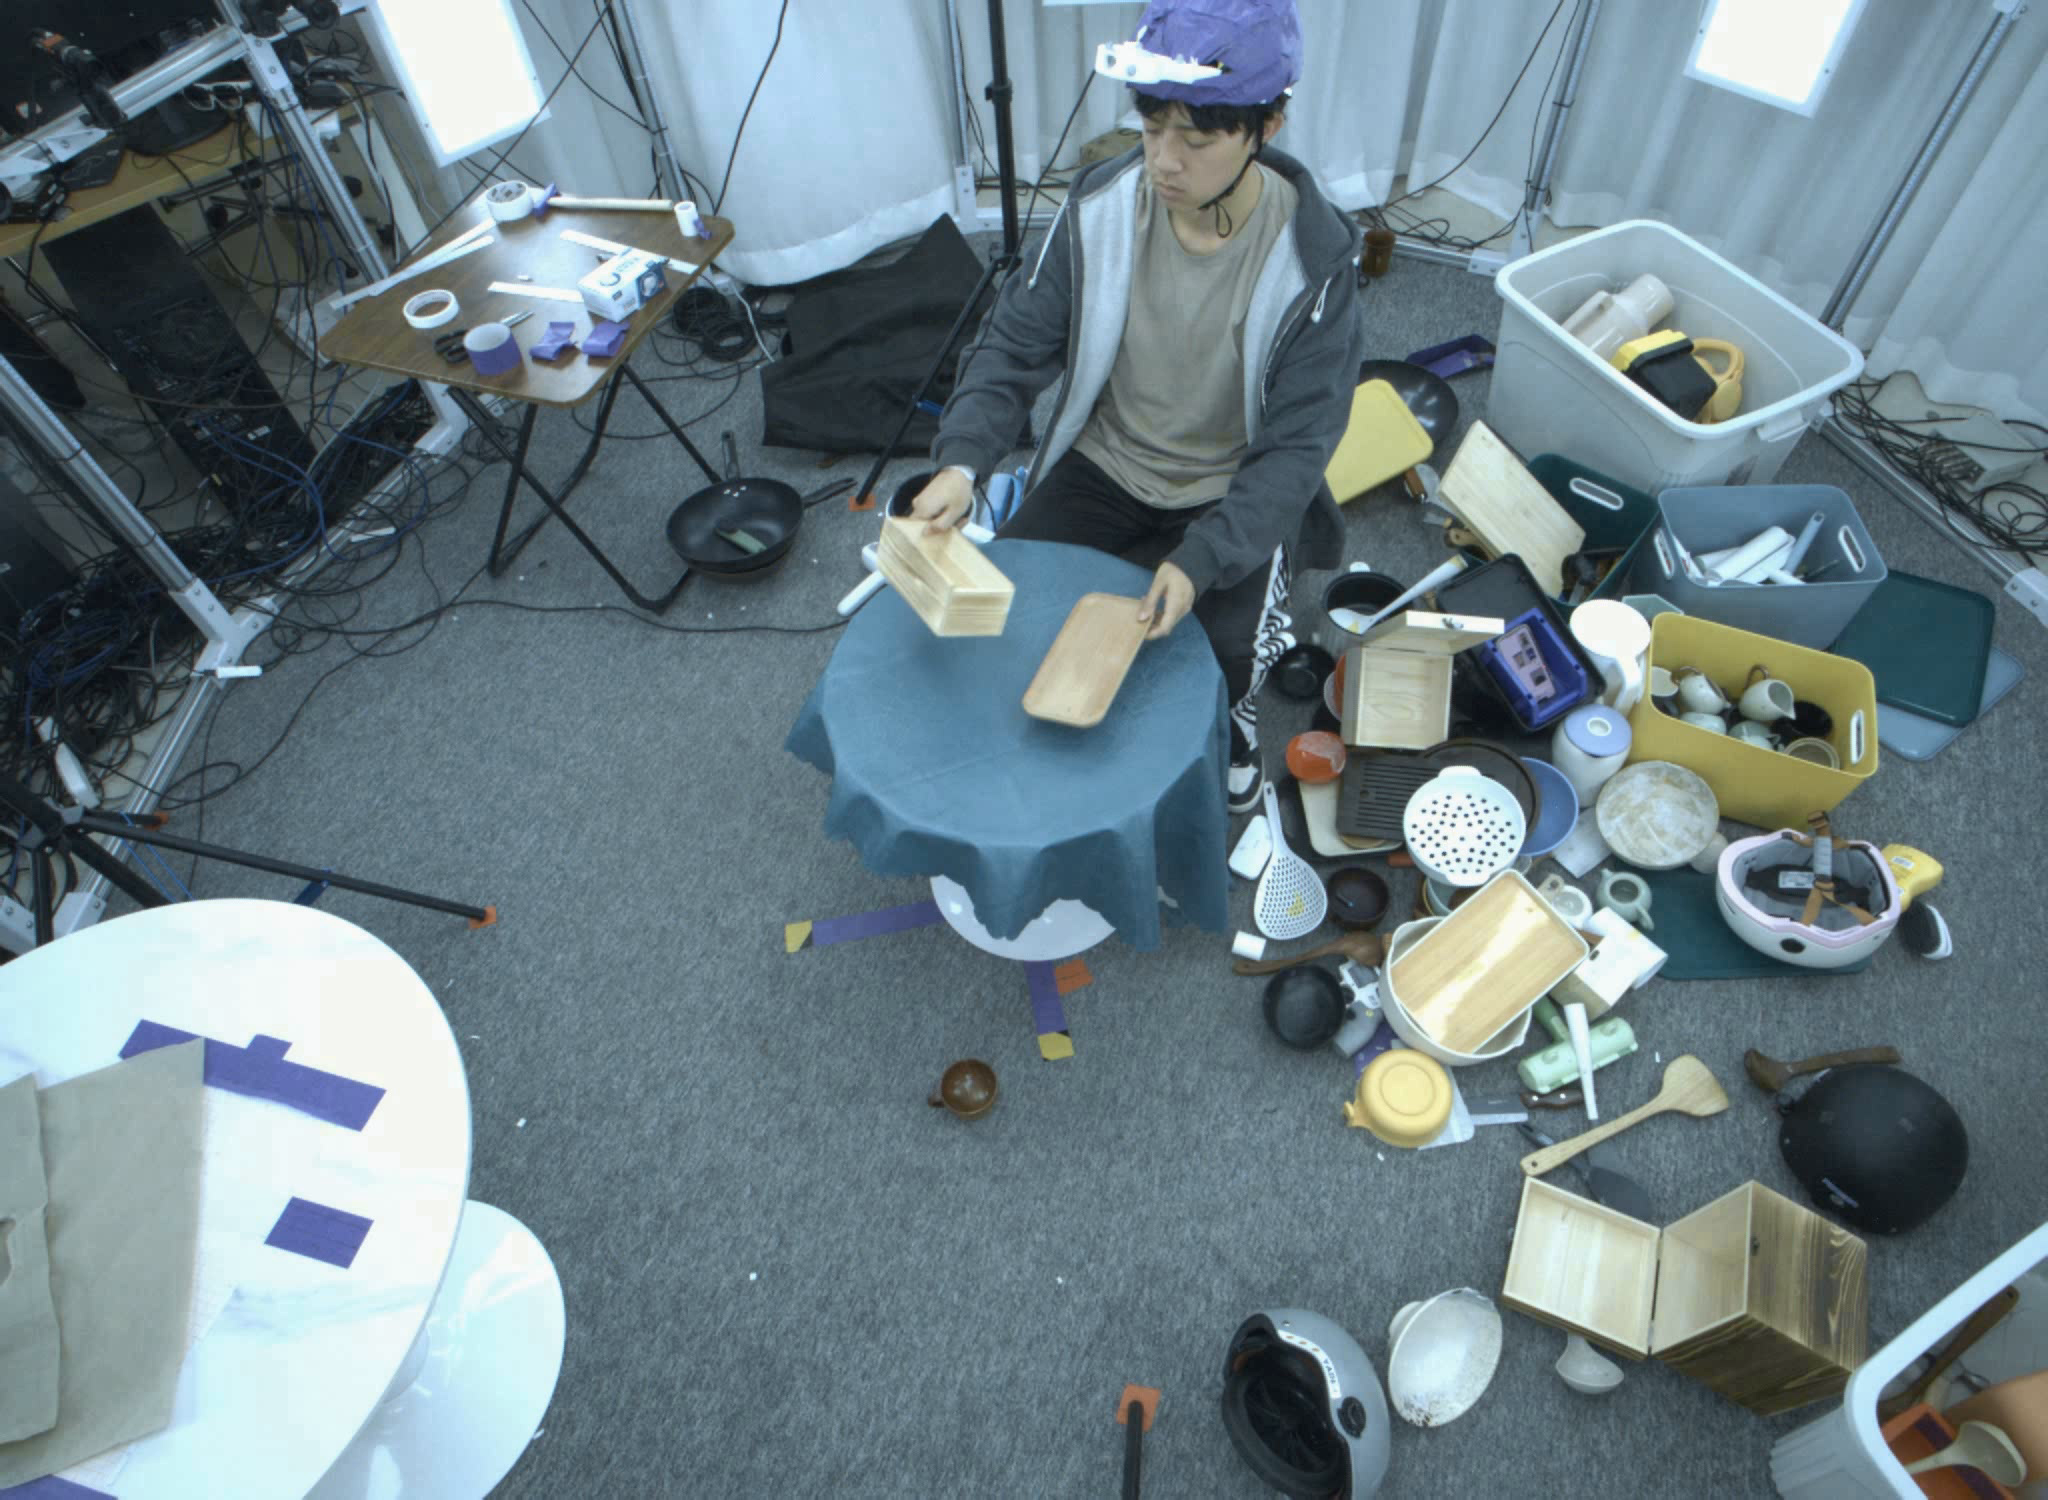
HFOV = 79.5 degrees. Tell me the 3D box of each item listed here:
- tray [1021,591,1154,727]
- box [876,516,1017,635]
[{"bbox_3d":[0.096,-0.137,1.812,0.128,0.023,0.251,17,57,20],"label":"tray"},{"bbox_3d":[-0.116,-0.253,1.757,0.110,0.080,0.207,-4,38,-37],"label":"box"}]
